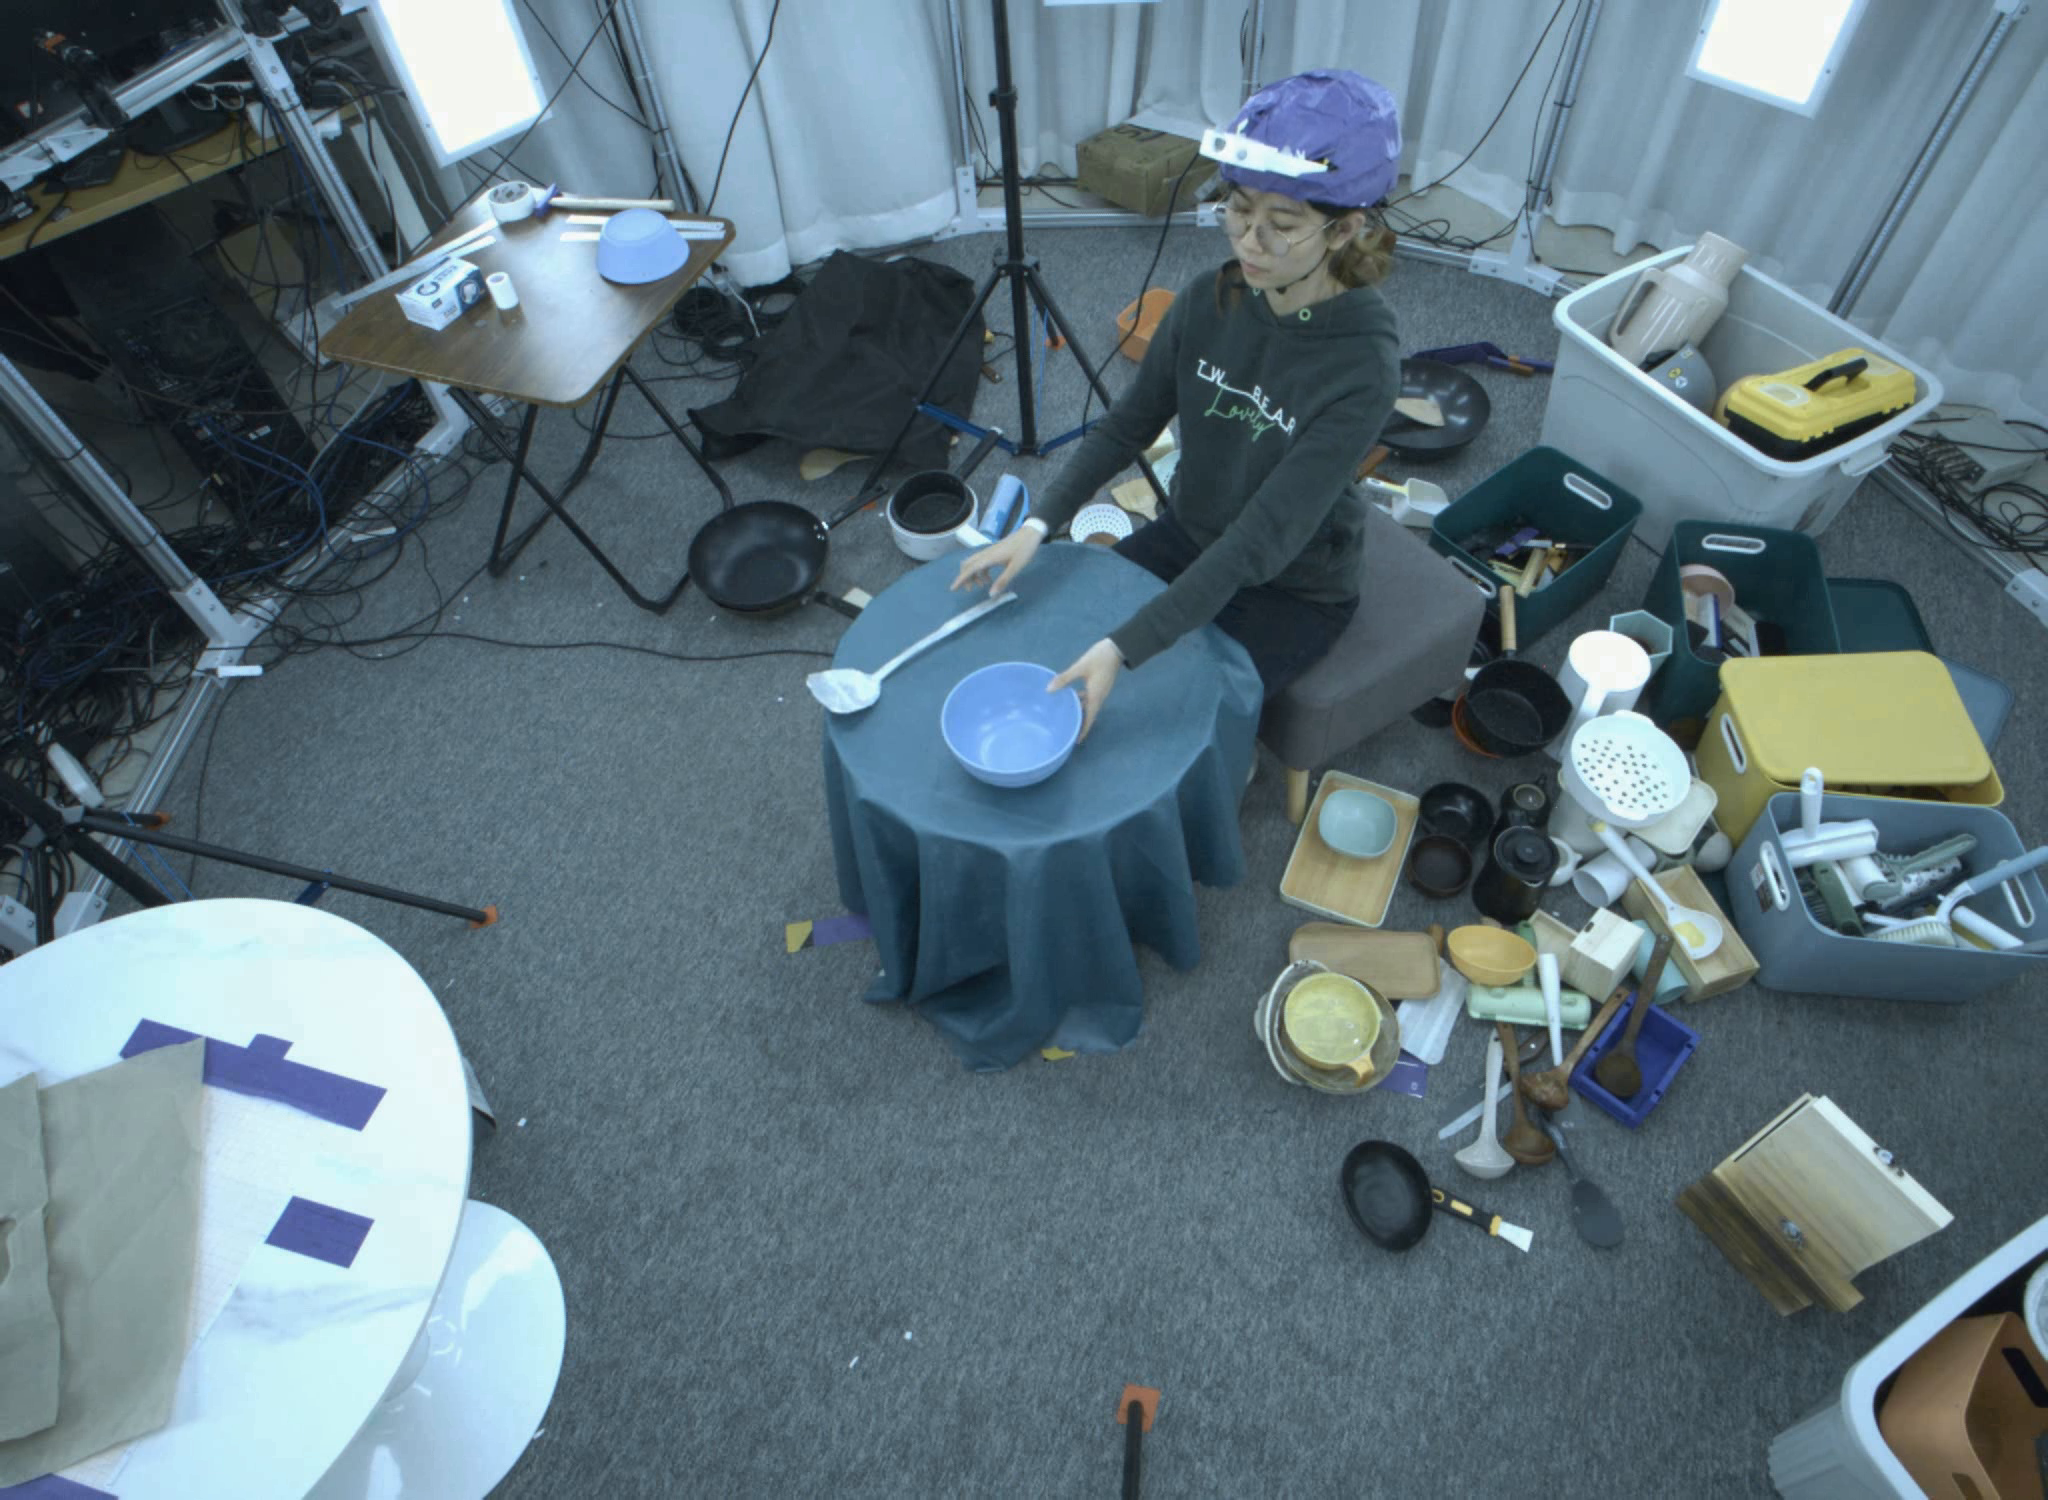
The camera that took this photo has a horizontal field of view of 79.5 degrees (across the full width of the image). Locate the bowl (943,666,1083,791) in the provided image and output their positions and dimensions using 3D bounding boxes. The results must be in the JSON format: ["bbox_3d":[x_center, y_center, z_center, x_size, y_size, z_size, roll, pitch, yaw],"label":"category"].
[{"bbox_3d":[-0.012,-0.016,1.751,0.196,0.096,0.194,-1,55,3],"label":"bowl"}]

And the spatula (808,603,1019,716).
[{"bbox_3d":[-0.161,-0.154,1.887,0.368,0.045,0.097,-33,58,-19],"label":"spatula"}]
